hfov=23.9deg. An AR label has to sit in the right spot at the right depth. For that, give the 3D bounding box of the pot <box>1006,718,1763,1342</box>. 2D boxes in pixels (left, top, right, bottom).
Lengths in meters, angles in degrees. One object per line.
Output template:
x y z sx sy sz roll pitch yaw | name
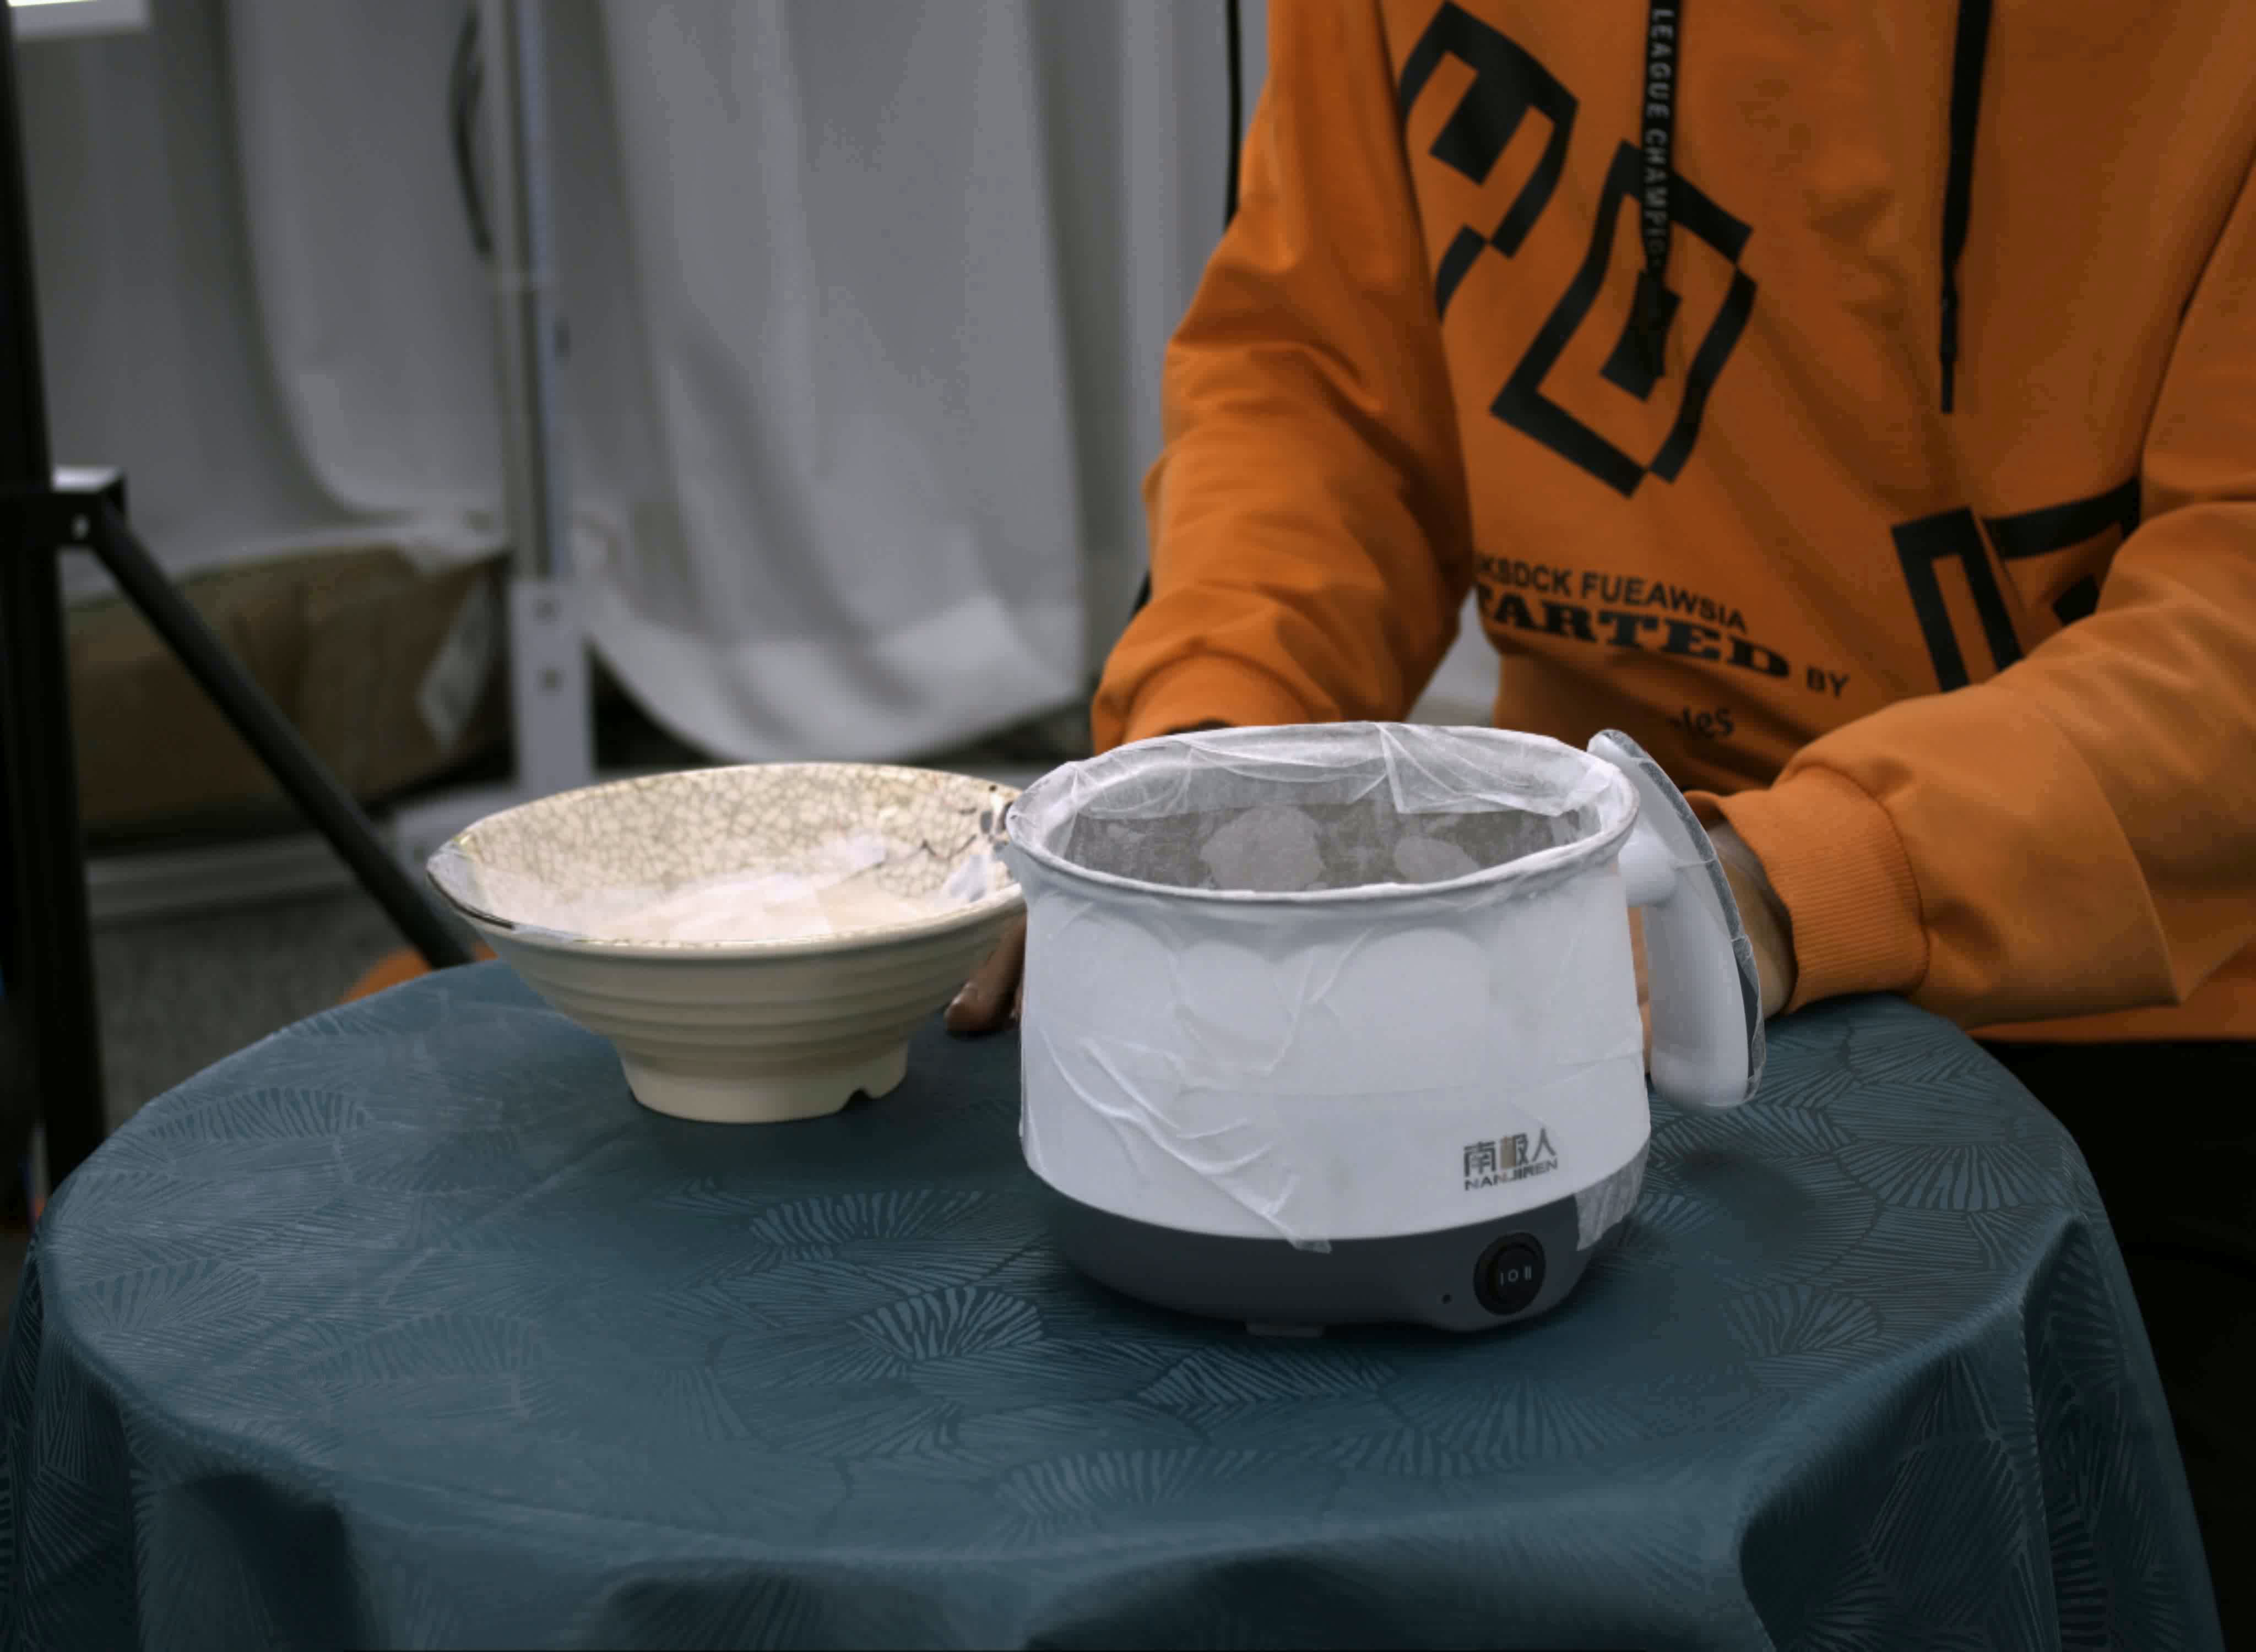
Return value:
0.080 0.050 1.498 0.228 0.136 0.183 -12 19 -30 | pot

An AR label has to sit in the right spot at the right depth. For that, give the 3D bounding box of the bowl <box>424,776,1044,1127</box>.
-0.116 0.045 1.665 0.203 0.078 0.205 -2 14 -1 | bowl
